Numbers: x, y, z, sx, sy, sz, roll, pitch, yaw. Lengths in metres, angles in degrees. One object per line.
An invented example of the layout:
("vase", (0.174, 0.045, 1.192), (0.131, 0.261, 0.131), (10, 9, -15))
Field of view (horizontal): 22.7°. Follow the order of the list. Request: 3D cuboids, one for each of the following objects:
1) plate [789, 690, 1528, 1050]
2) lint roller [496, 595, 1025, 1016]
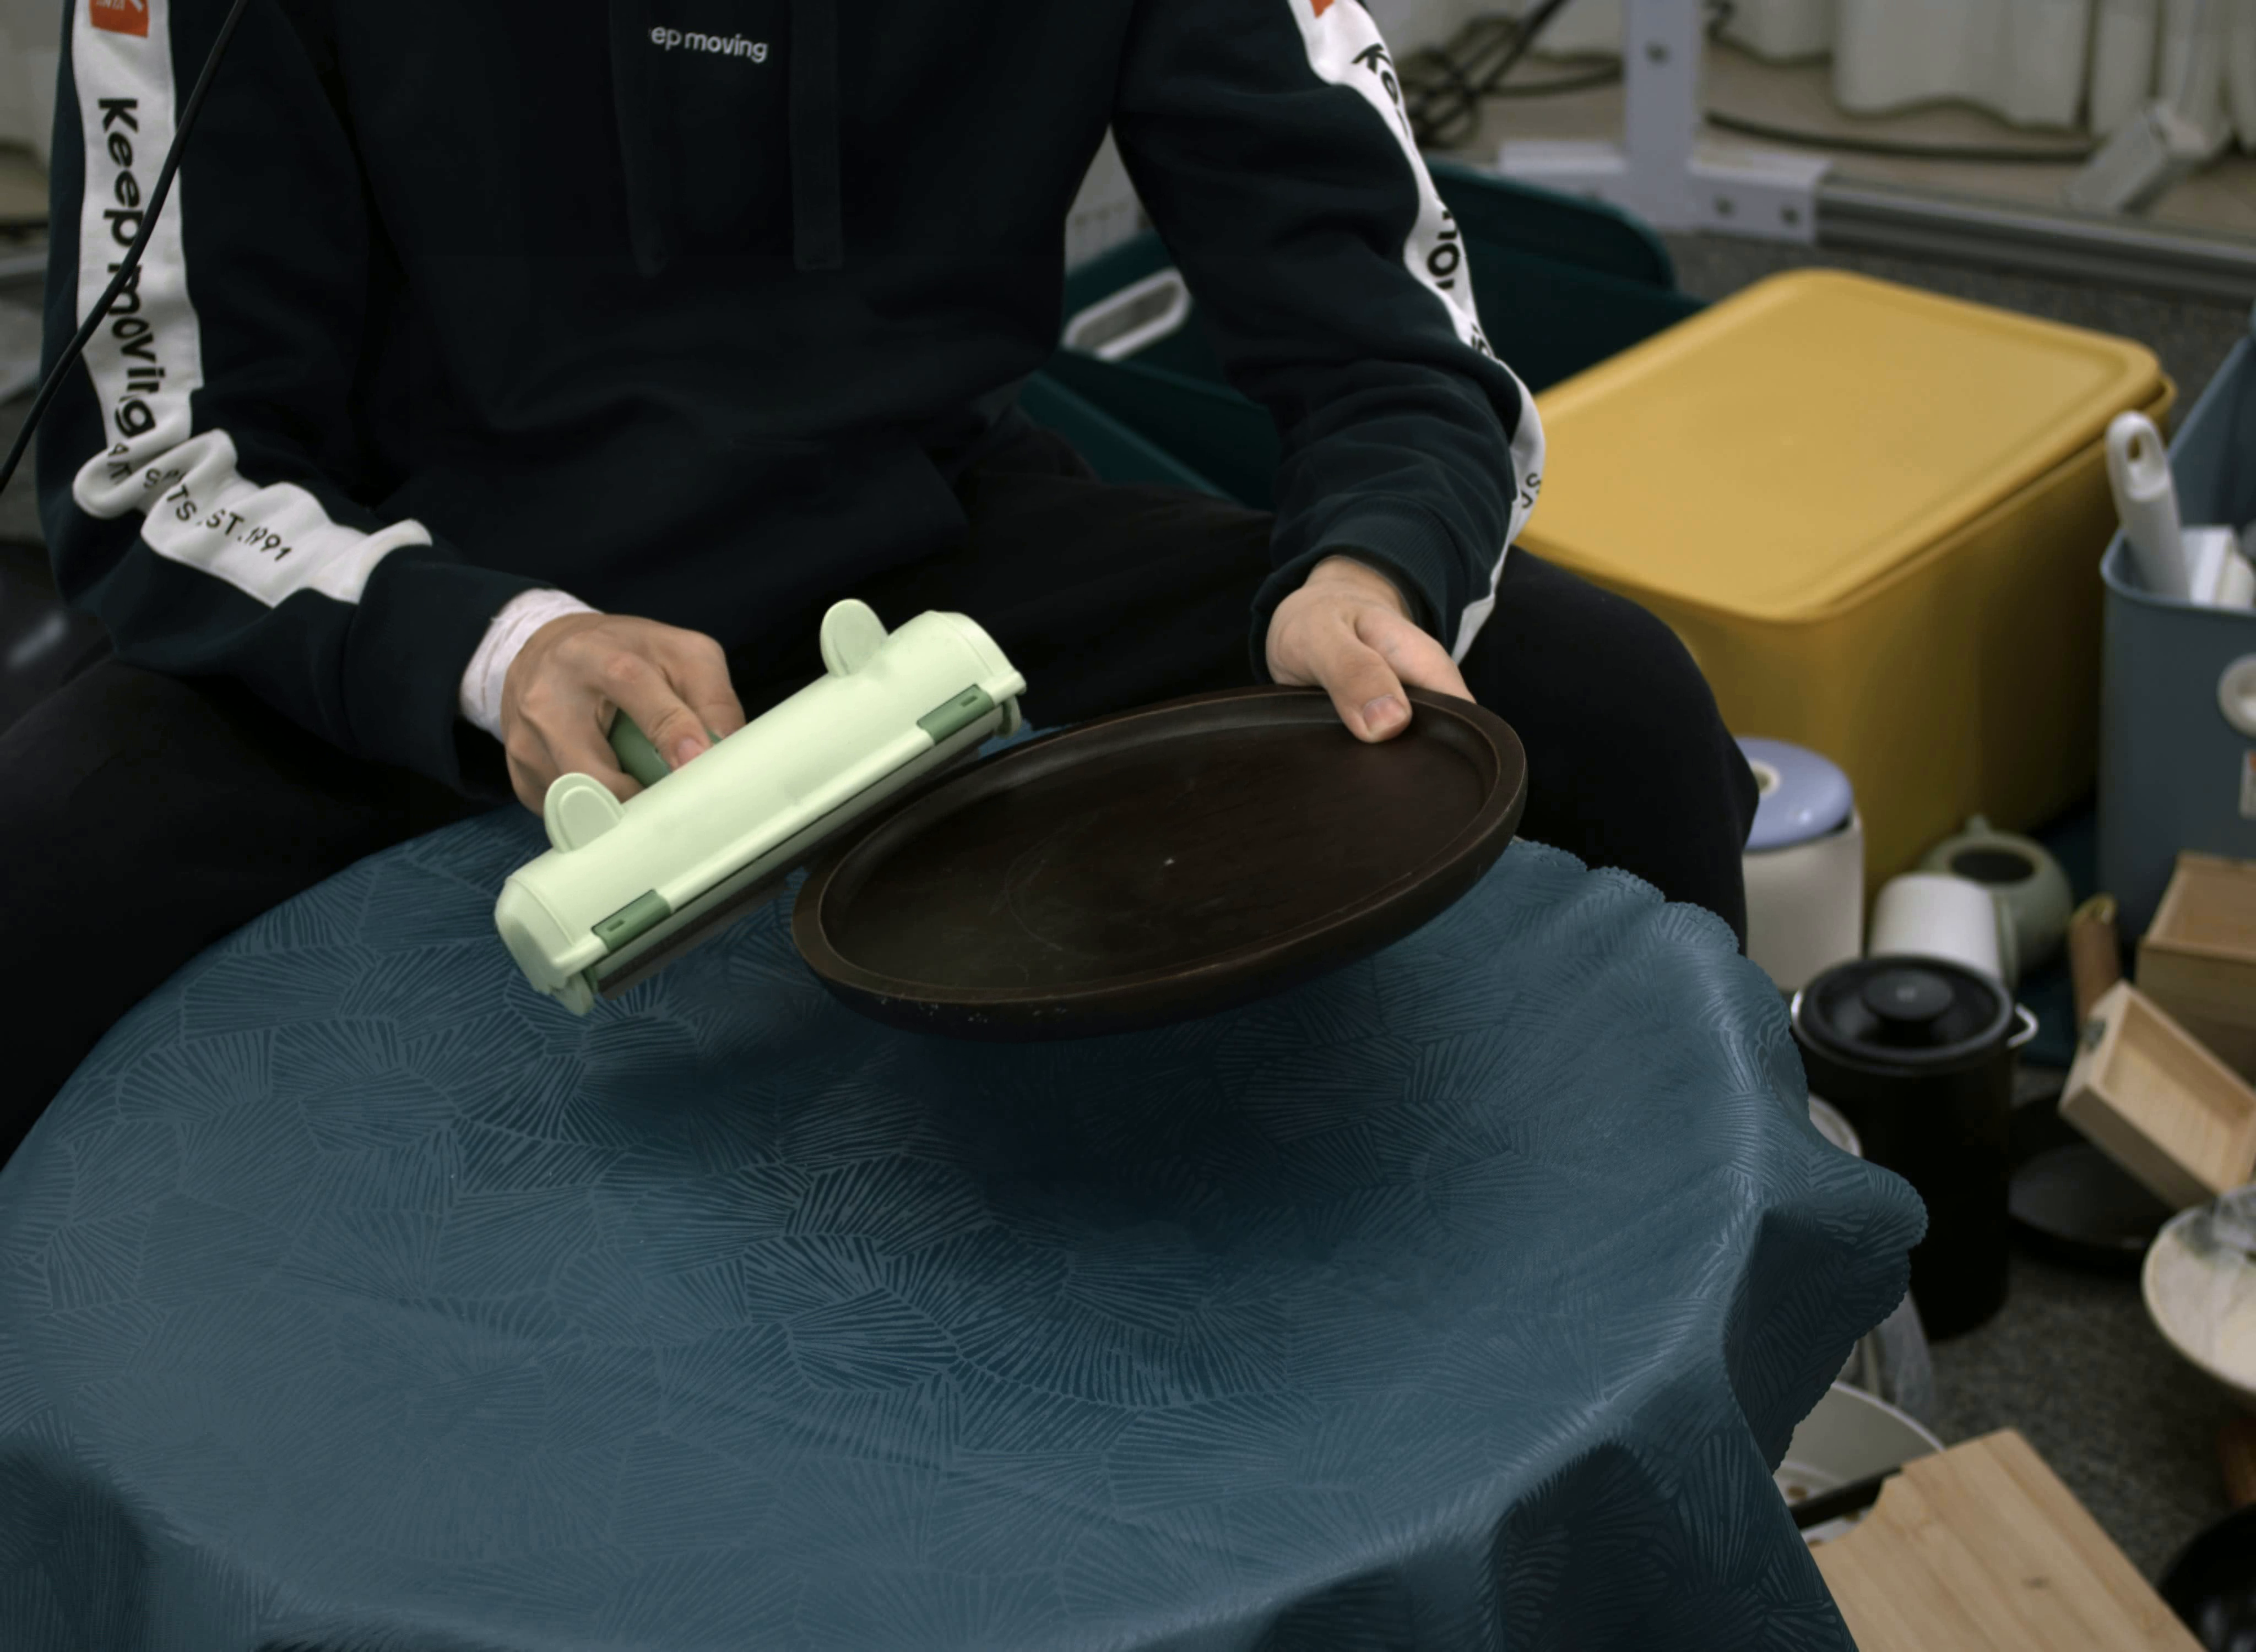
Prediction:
("plate", (0.011, 0.013, 1.873), (0.253, 0.029, 0.258), (-13, 21, 5))
("lint roller", (-0.157, -0.031, 1.977), (0.200, 0.081, 0.184), (-33, 36, -19))
